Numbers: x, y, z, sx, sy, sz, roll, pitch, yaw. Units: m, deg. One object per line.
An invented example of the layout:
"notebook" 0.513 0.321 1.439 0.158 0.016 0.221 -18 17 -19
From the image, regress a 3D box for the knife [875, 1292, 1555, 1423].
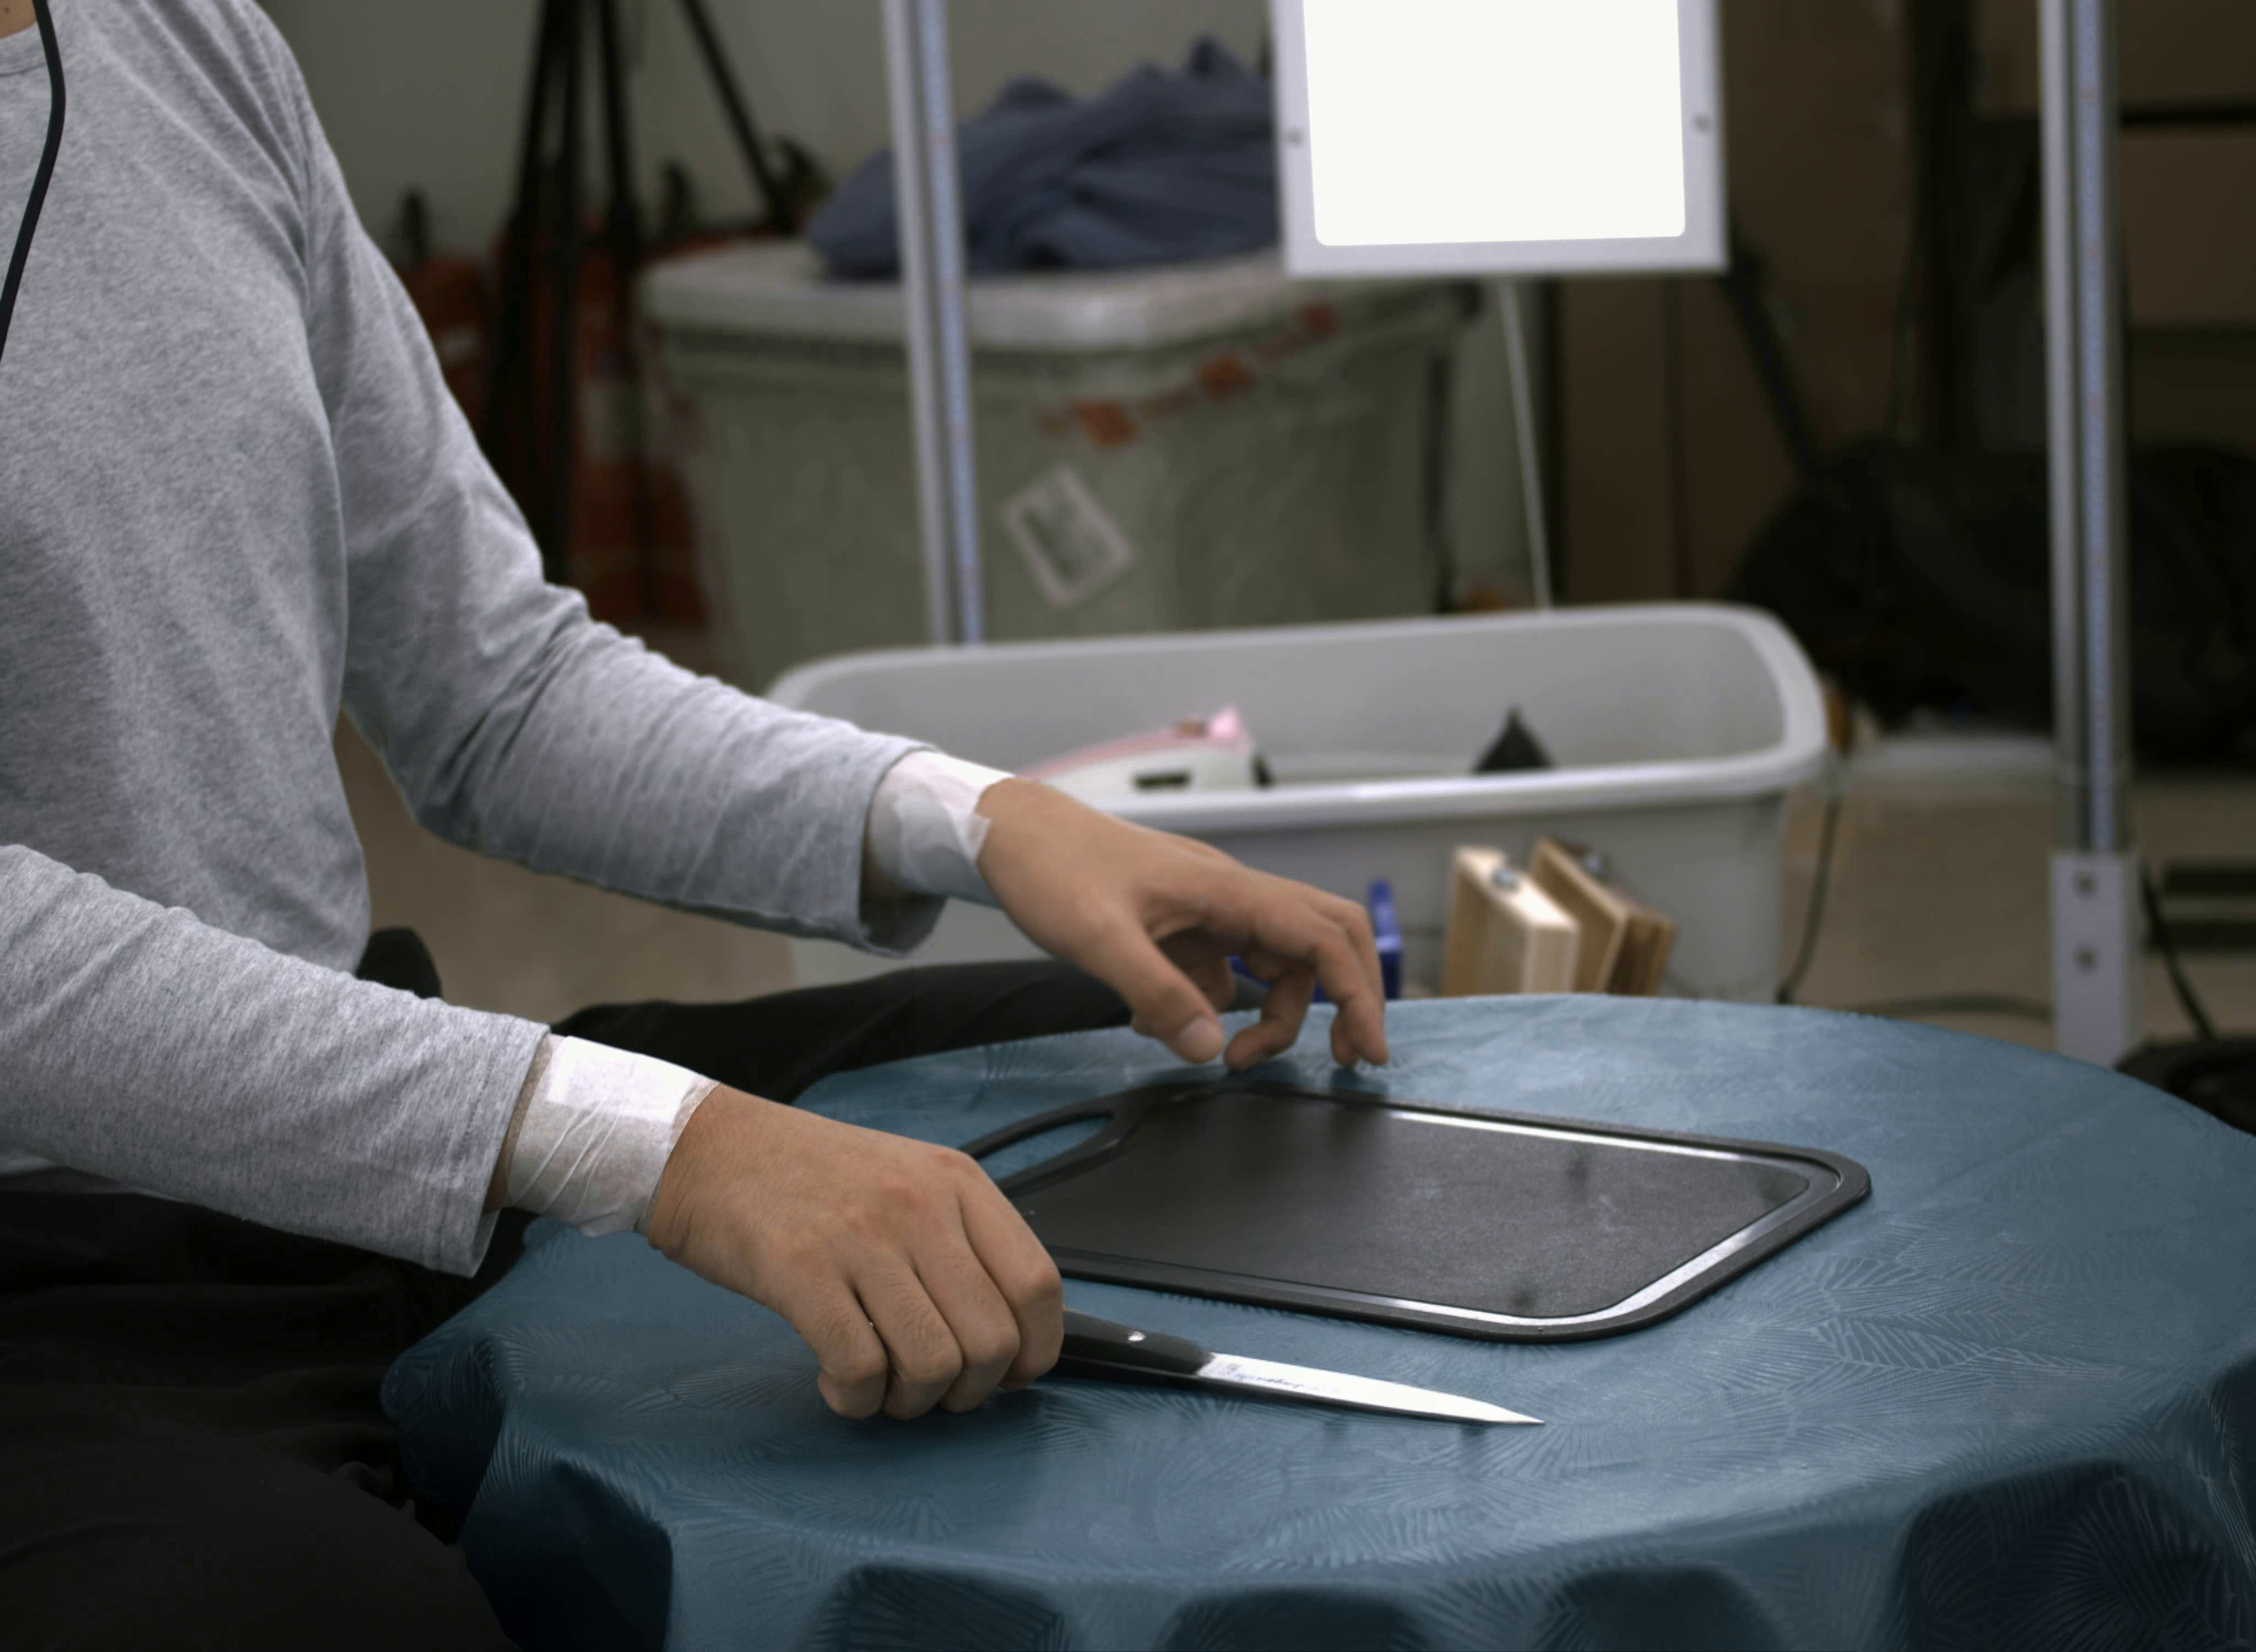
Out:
"knife" 0.022 0.168 1.704 0.242 0.016 0.024 6 18 30

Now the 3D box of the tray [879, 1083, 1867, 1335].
"tray" 0.074 0.125 1.869 0.332 0.010 0.206 5 17 37
